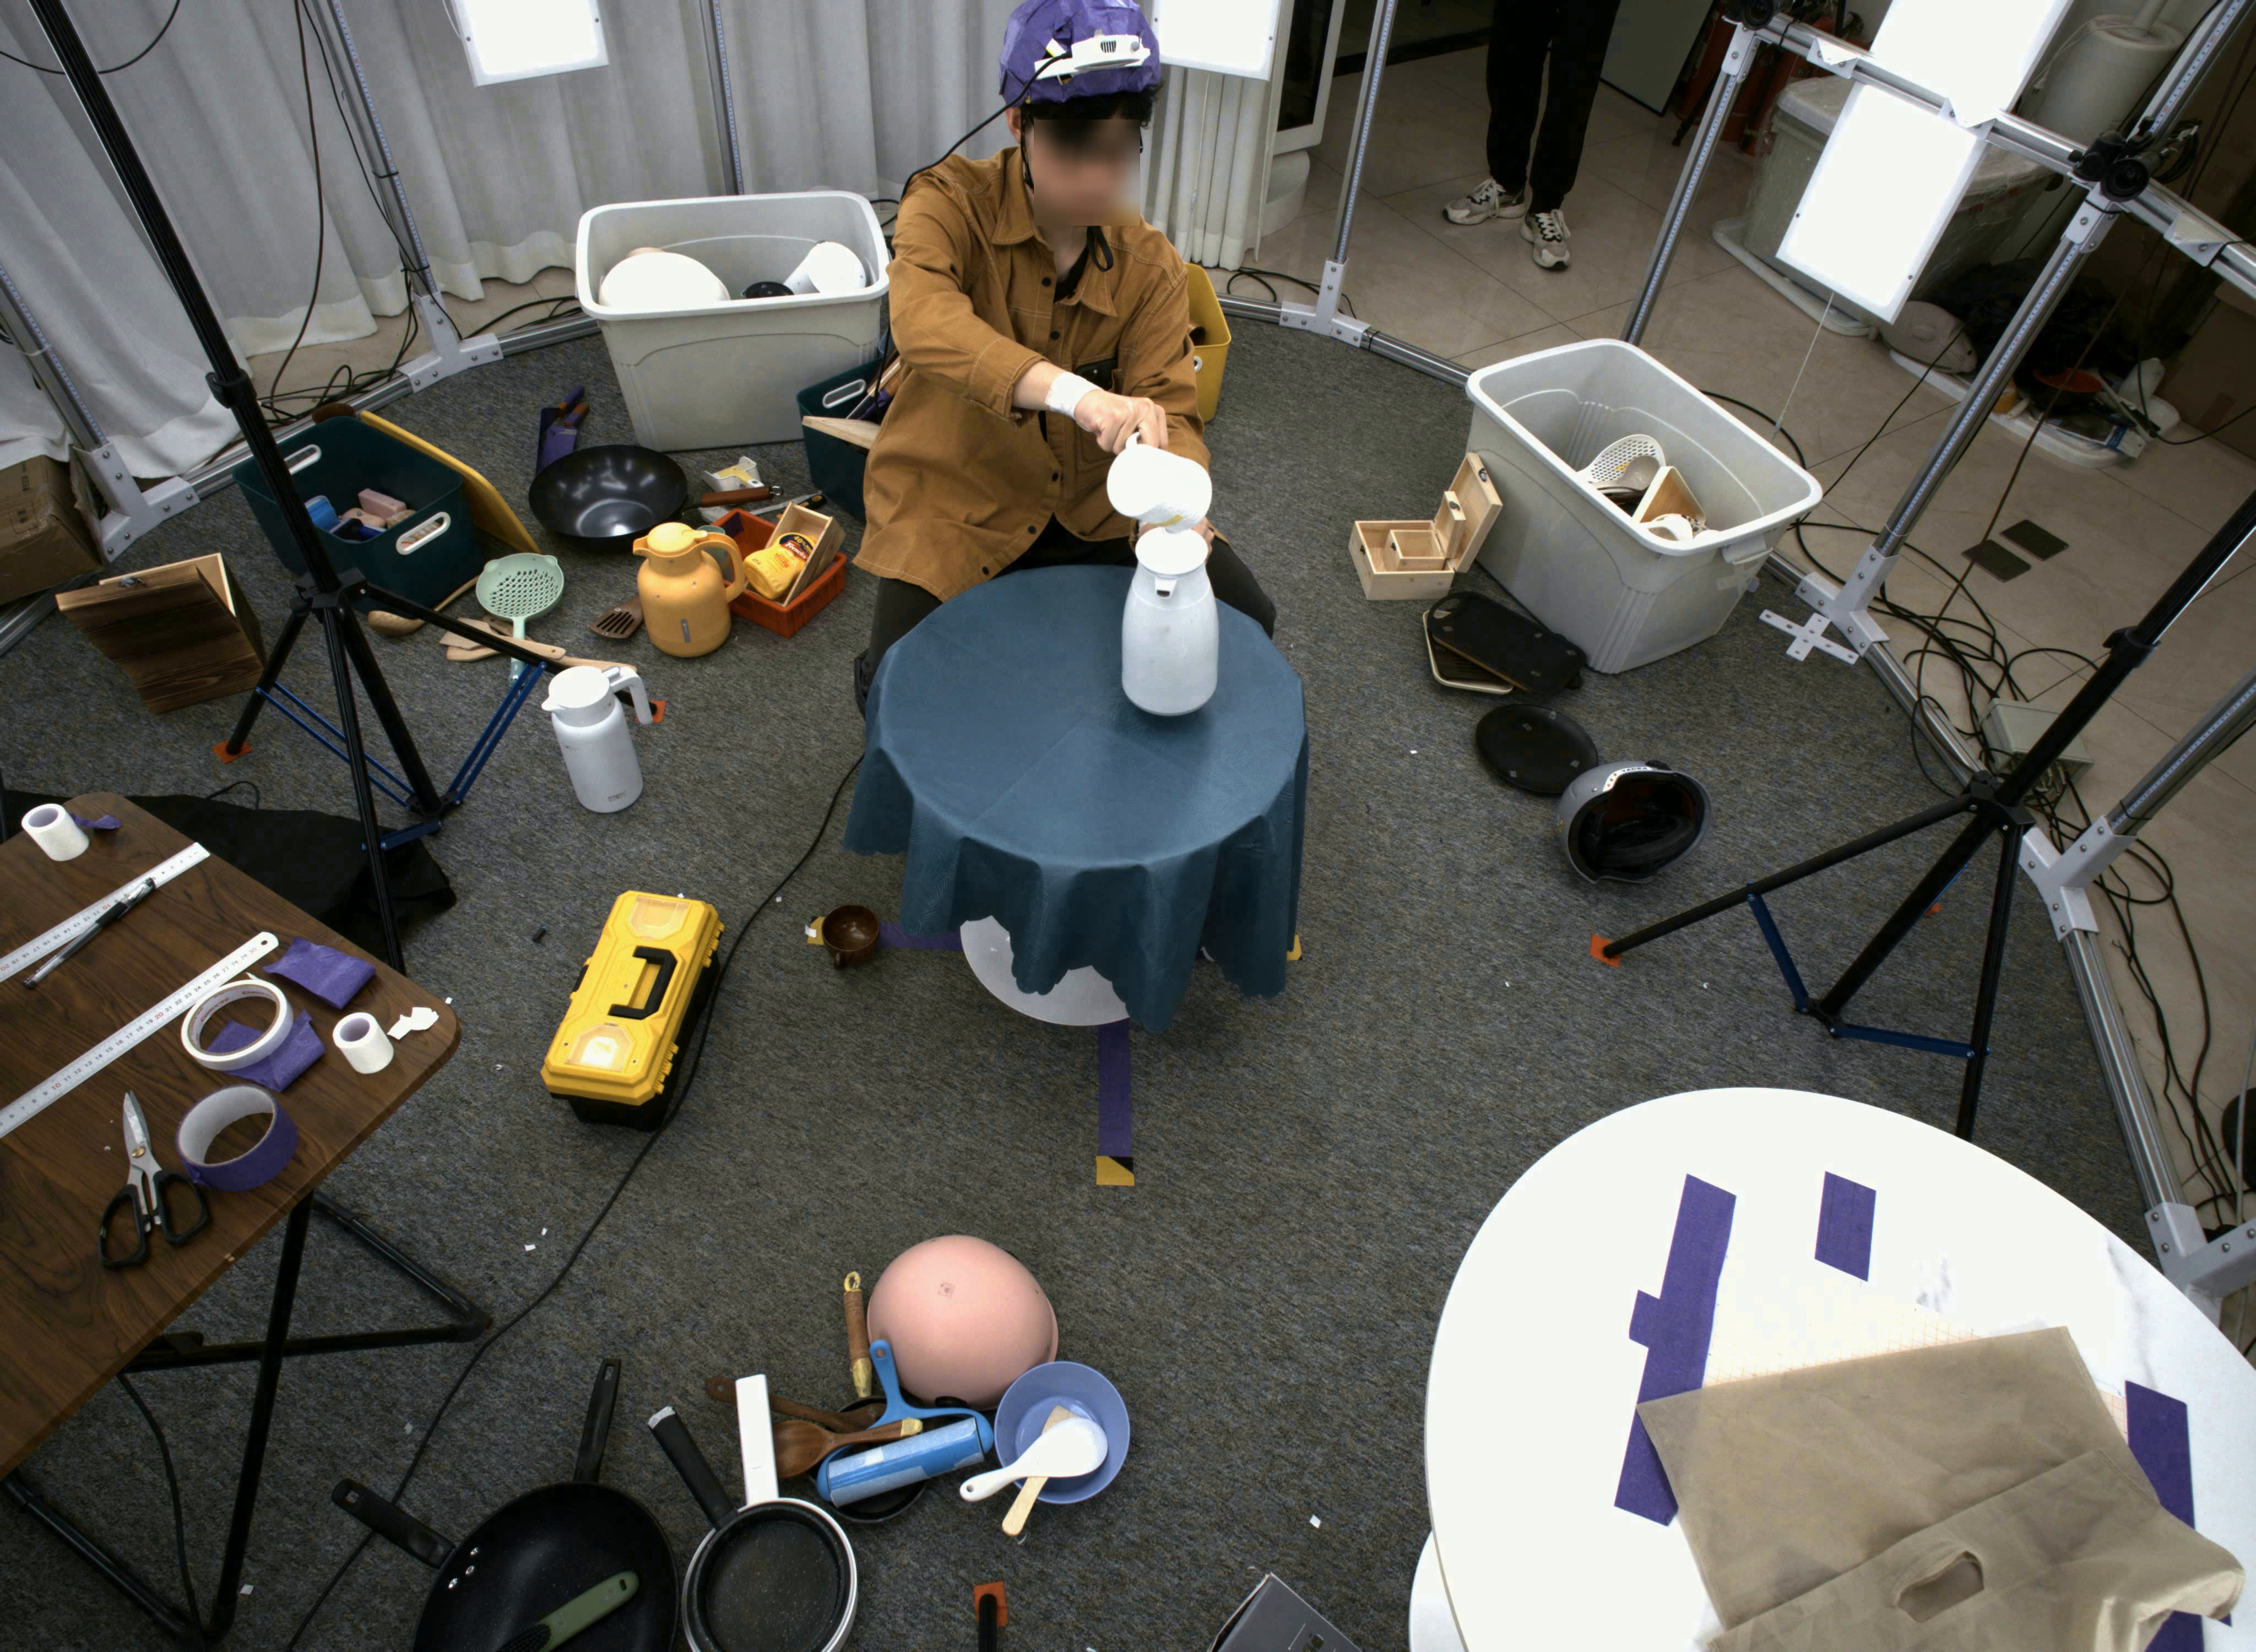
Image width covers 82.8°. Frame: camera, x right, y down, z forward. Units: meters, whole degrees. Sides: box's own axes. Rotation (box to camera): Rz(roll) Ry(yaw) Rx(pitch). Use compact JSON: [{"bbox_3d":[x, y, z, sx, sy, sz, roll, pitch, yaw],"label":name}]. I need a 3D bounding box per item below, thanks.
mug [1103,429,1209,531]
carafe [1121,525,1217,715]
[{"bbox_3d":[0.027,-0.409,1.502,0.101,0.084,0.120,1,65,-54],"label":"mug"},{"bbox_3d":[0.056,-0.292,1.709,0.133,0.242,0.171,6,52,7],"label":"carafe"}]
